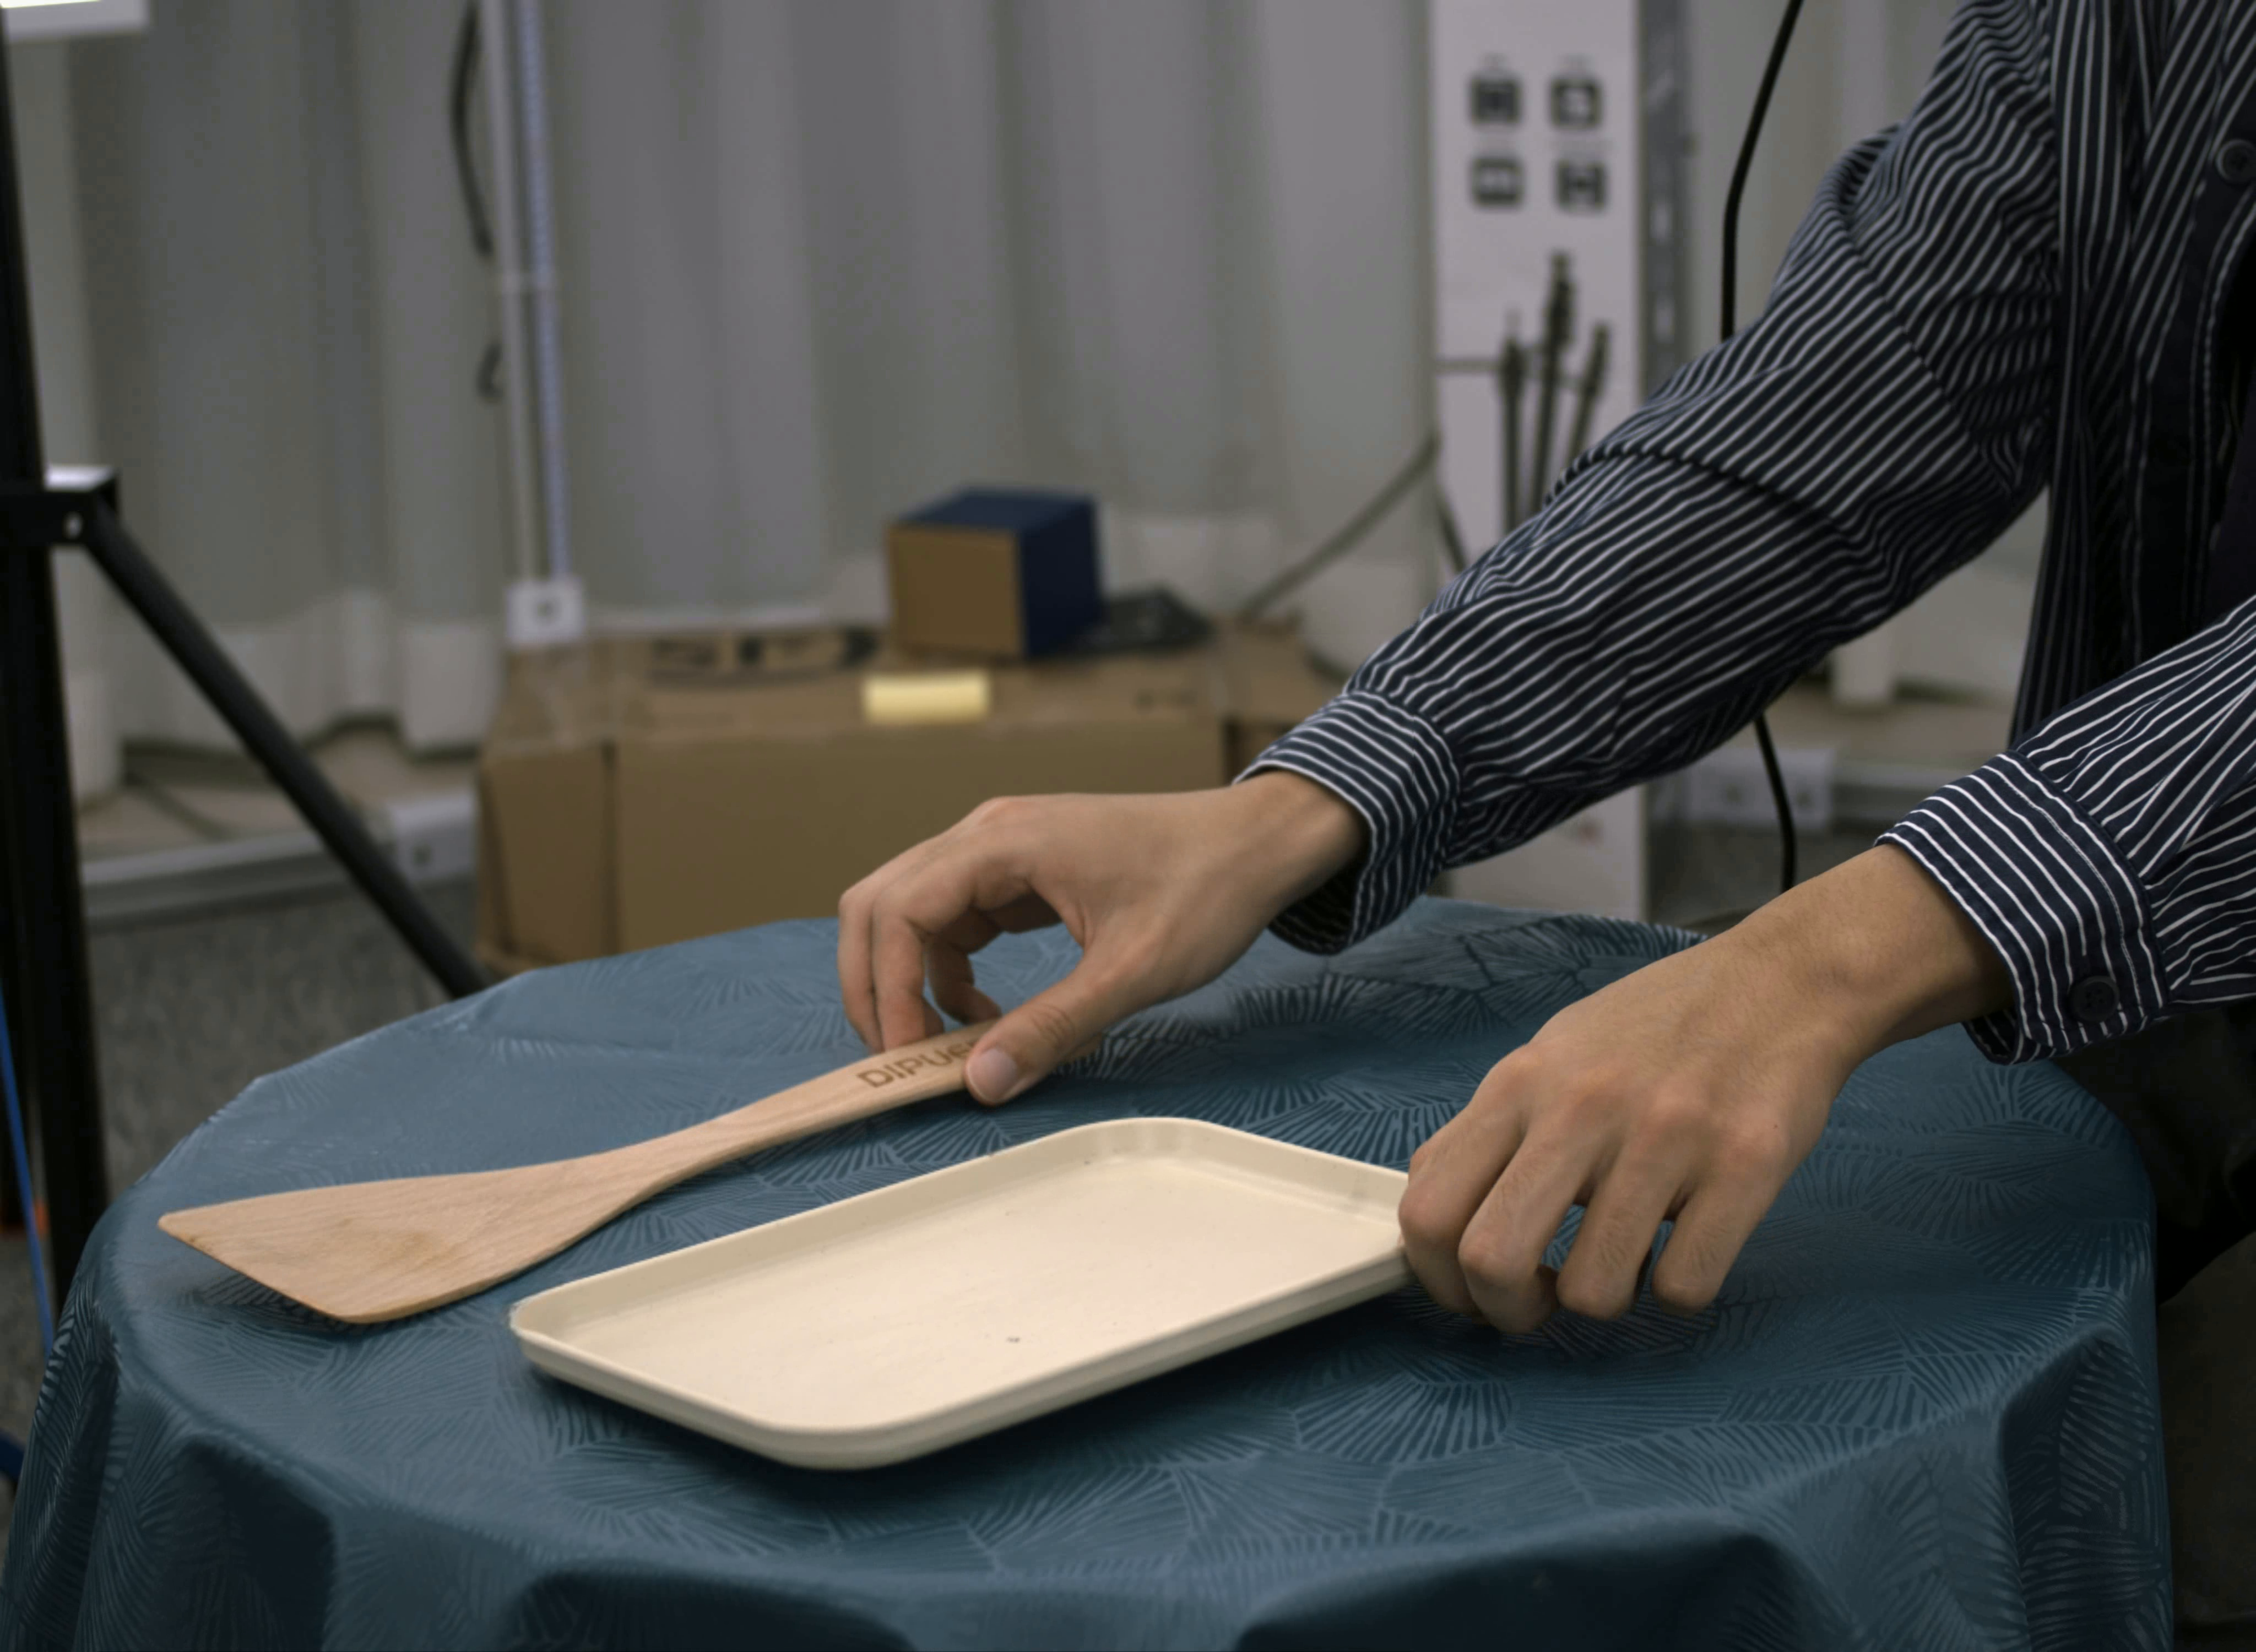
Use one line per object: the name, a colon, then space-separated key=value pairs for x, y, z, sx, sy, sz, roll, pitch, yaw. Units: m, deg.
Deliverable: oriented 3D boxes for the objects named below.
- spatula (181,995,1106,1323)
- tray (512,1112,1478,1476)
spatula: x=-0.128 y=0.093 z=1.592 sx=0.320 sy=0.016 sz=0.082 roll=-18 pitch=32 yaw=-39
tray: x=-0.034 y=0.126 z=1.454 sx=0.234 sy=0.017 sz=0.175 roll=-15 pitch=17 yaw=-35
